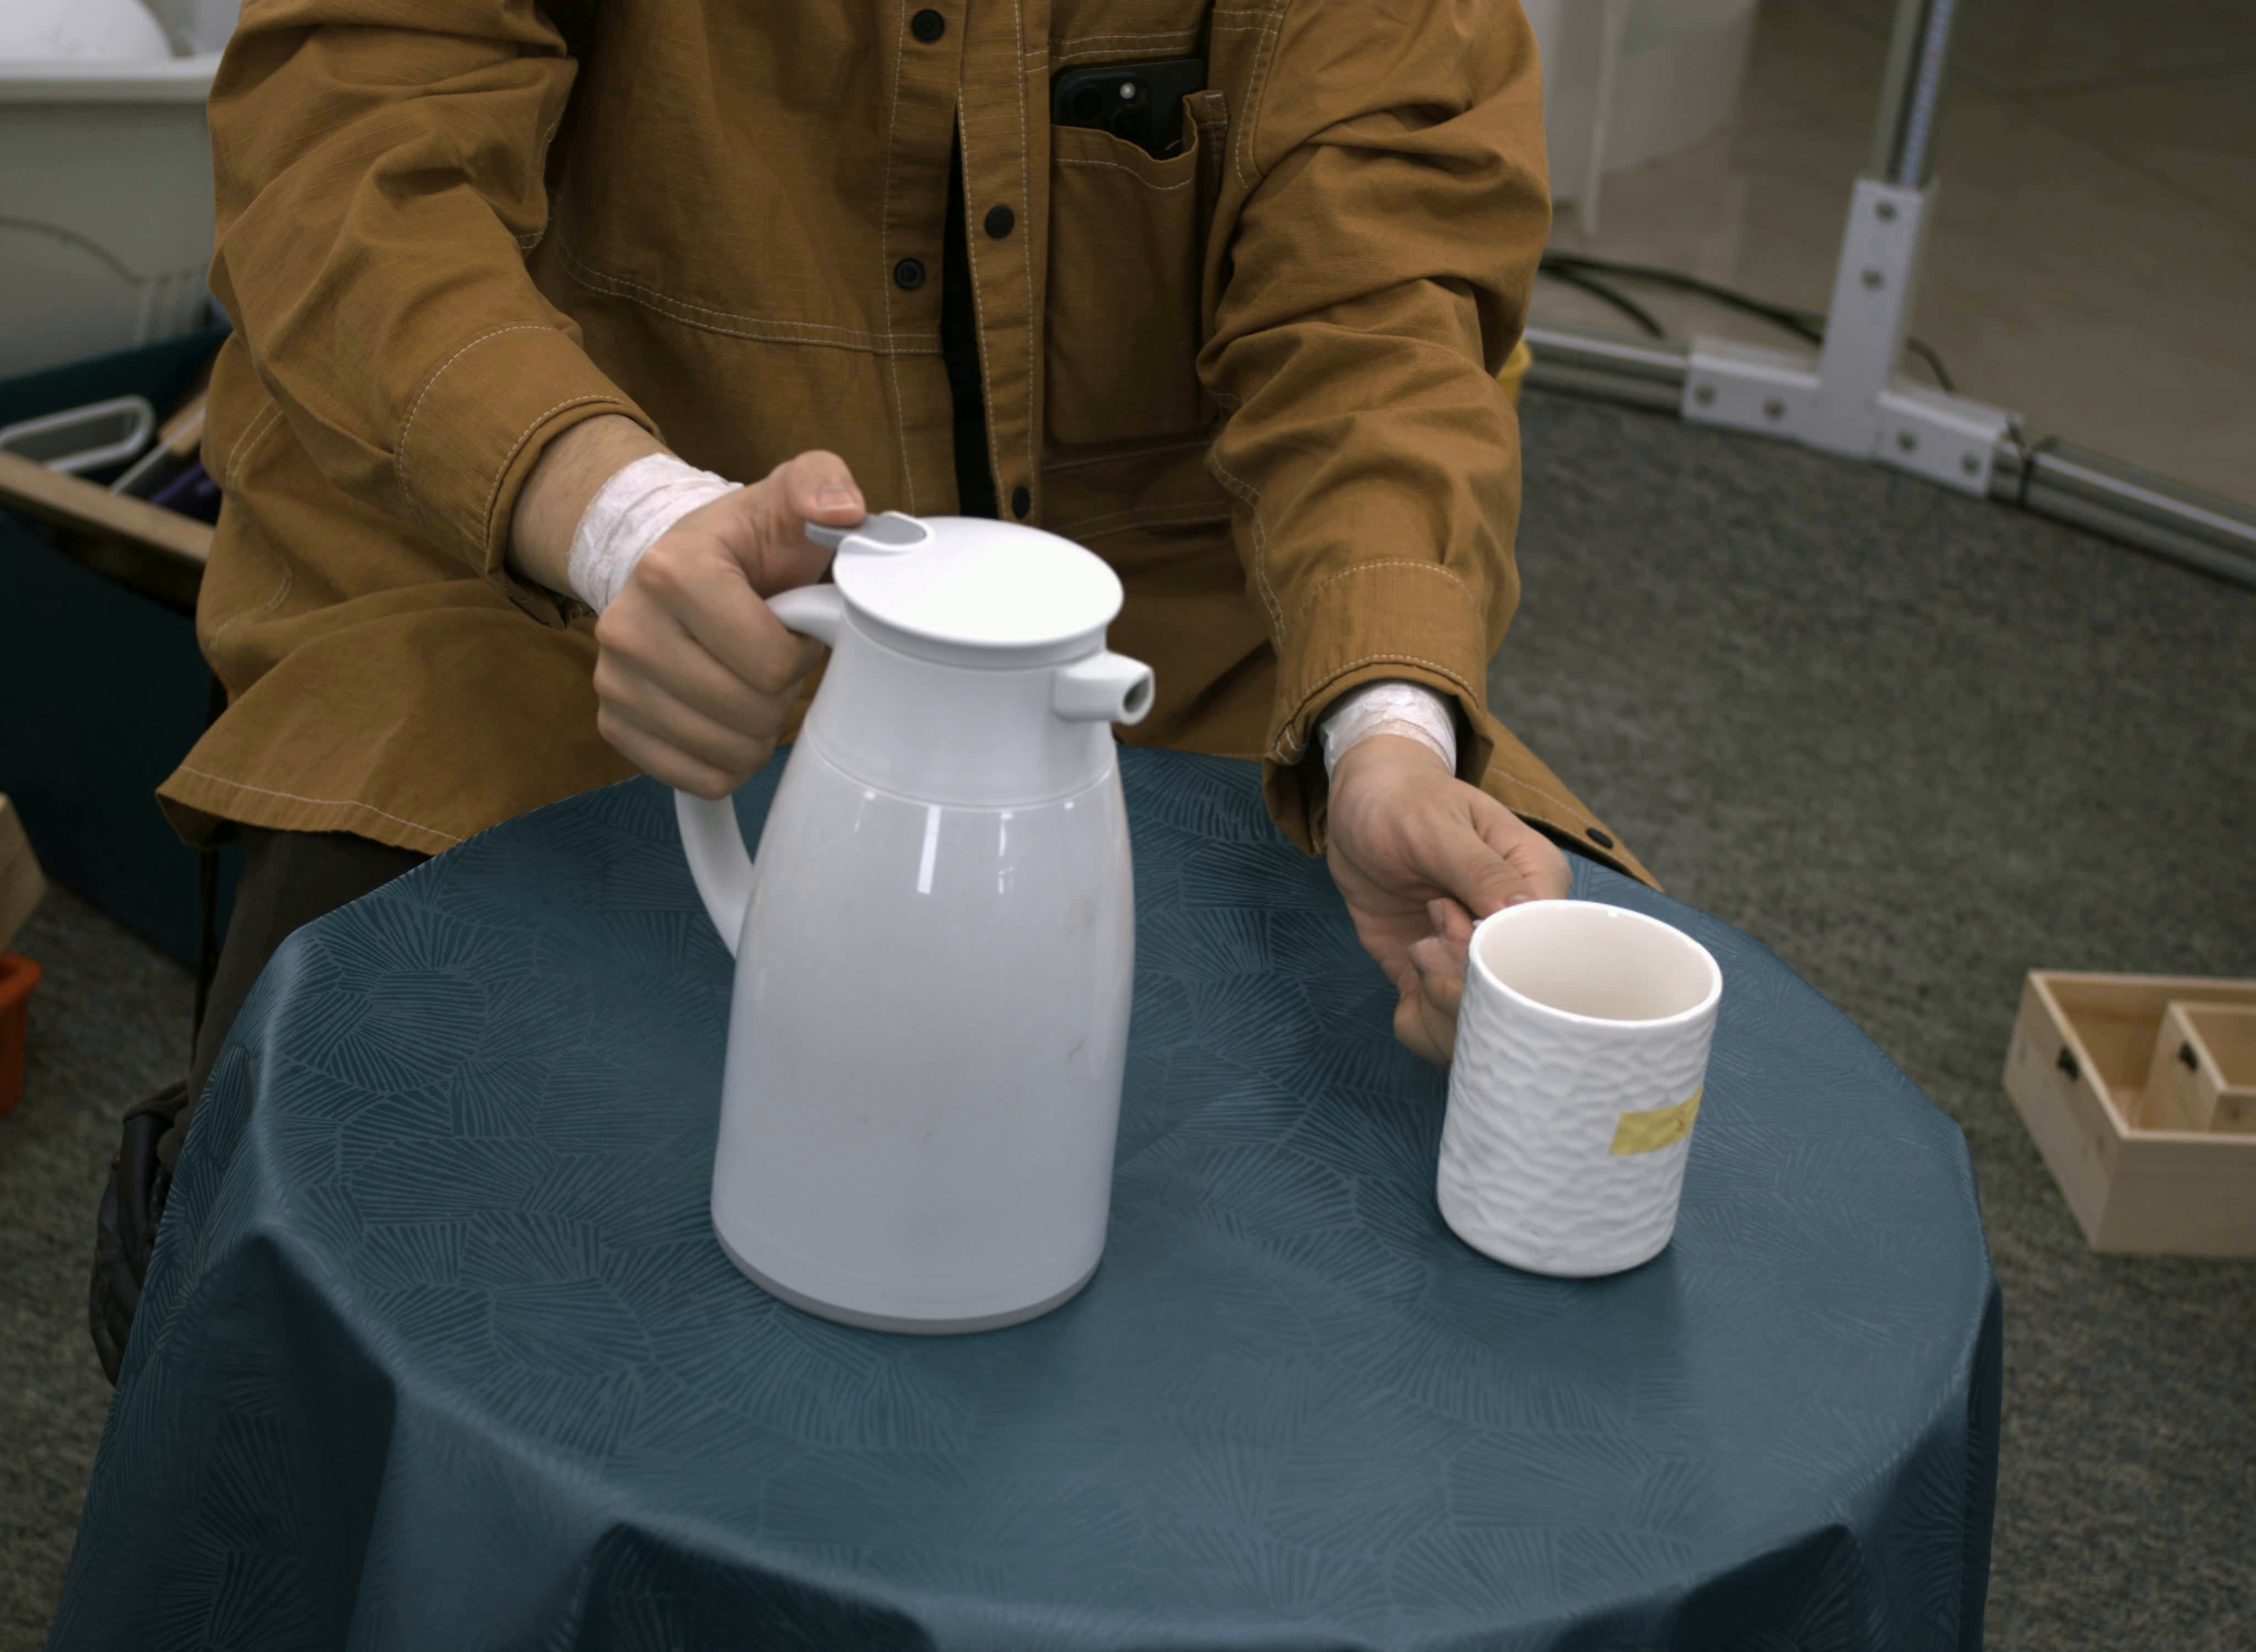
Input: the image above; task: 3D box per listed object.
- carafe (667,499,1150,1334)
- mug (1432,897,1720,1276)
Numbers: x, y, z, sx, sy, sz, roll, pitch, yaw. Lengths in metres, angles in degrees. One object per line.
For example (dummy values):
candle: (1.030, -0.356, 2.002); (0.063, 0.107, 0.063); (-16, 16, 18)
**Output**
carafe: (-0.078, 0.019, 1.721); (0.168, 0.248, 0.132); (20, 30, 25)
mug: (0.143, 0.082, 1.807); (0.084, 0.101, 0.119); (-6, 28, -26)
